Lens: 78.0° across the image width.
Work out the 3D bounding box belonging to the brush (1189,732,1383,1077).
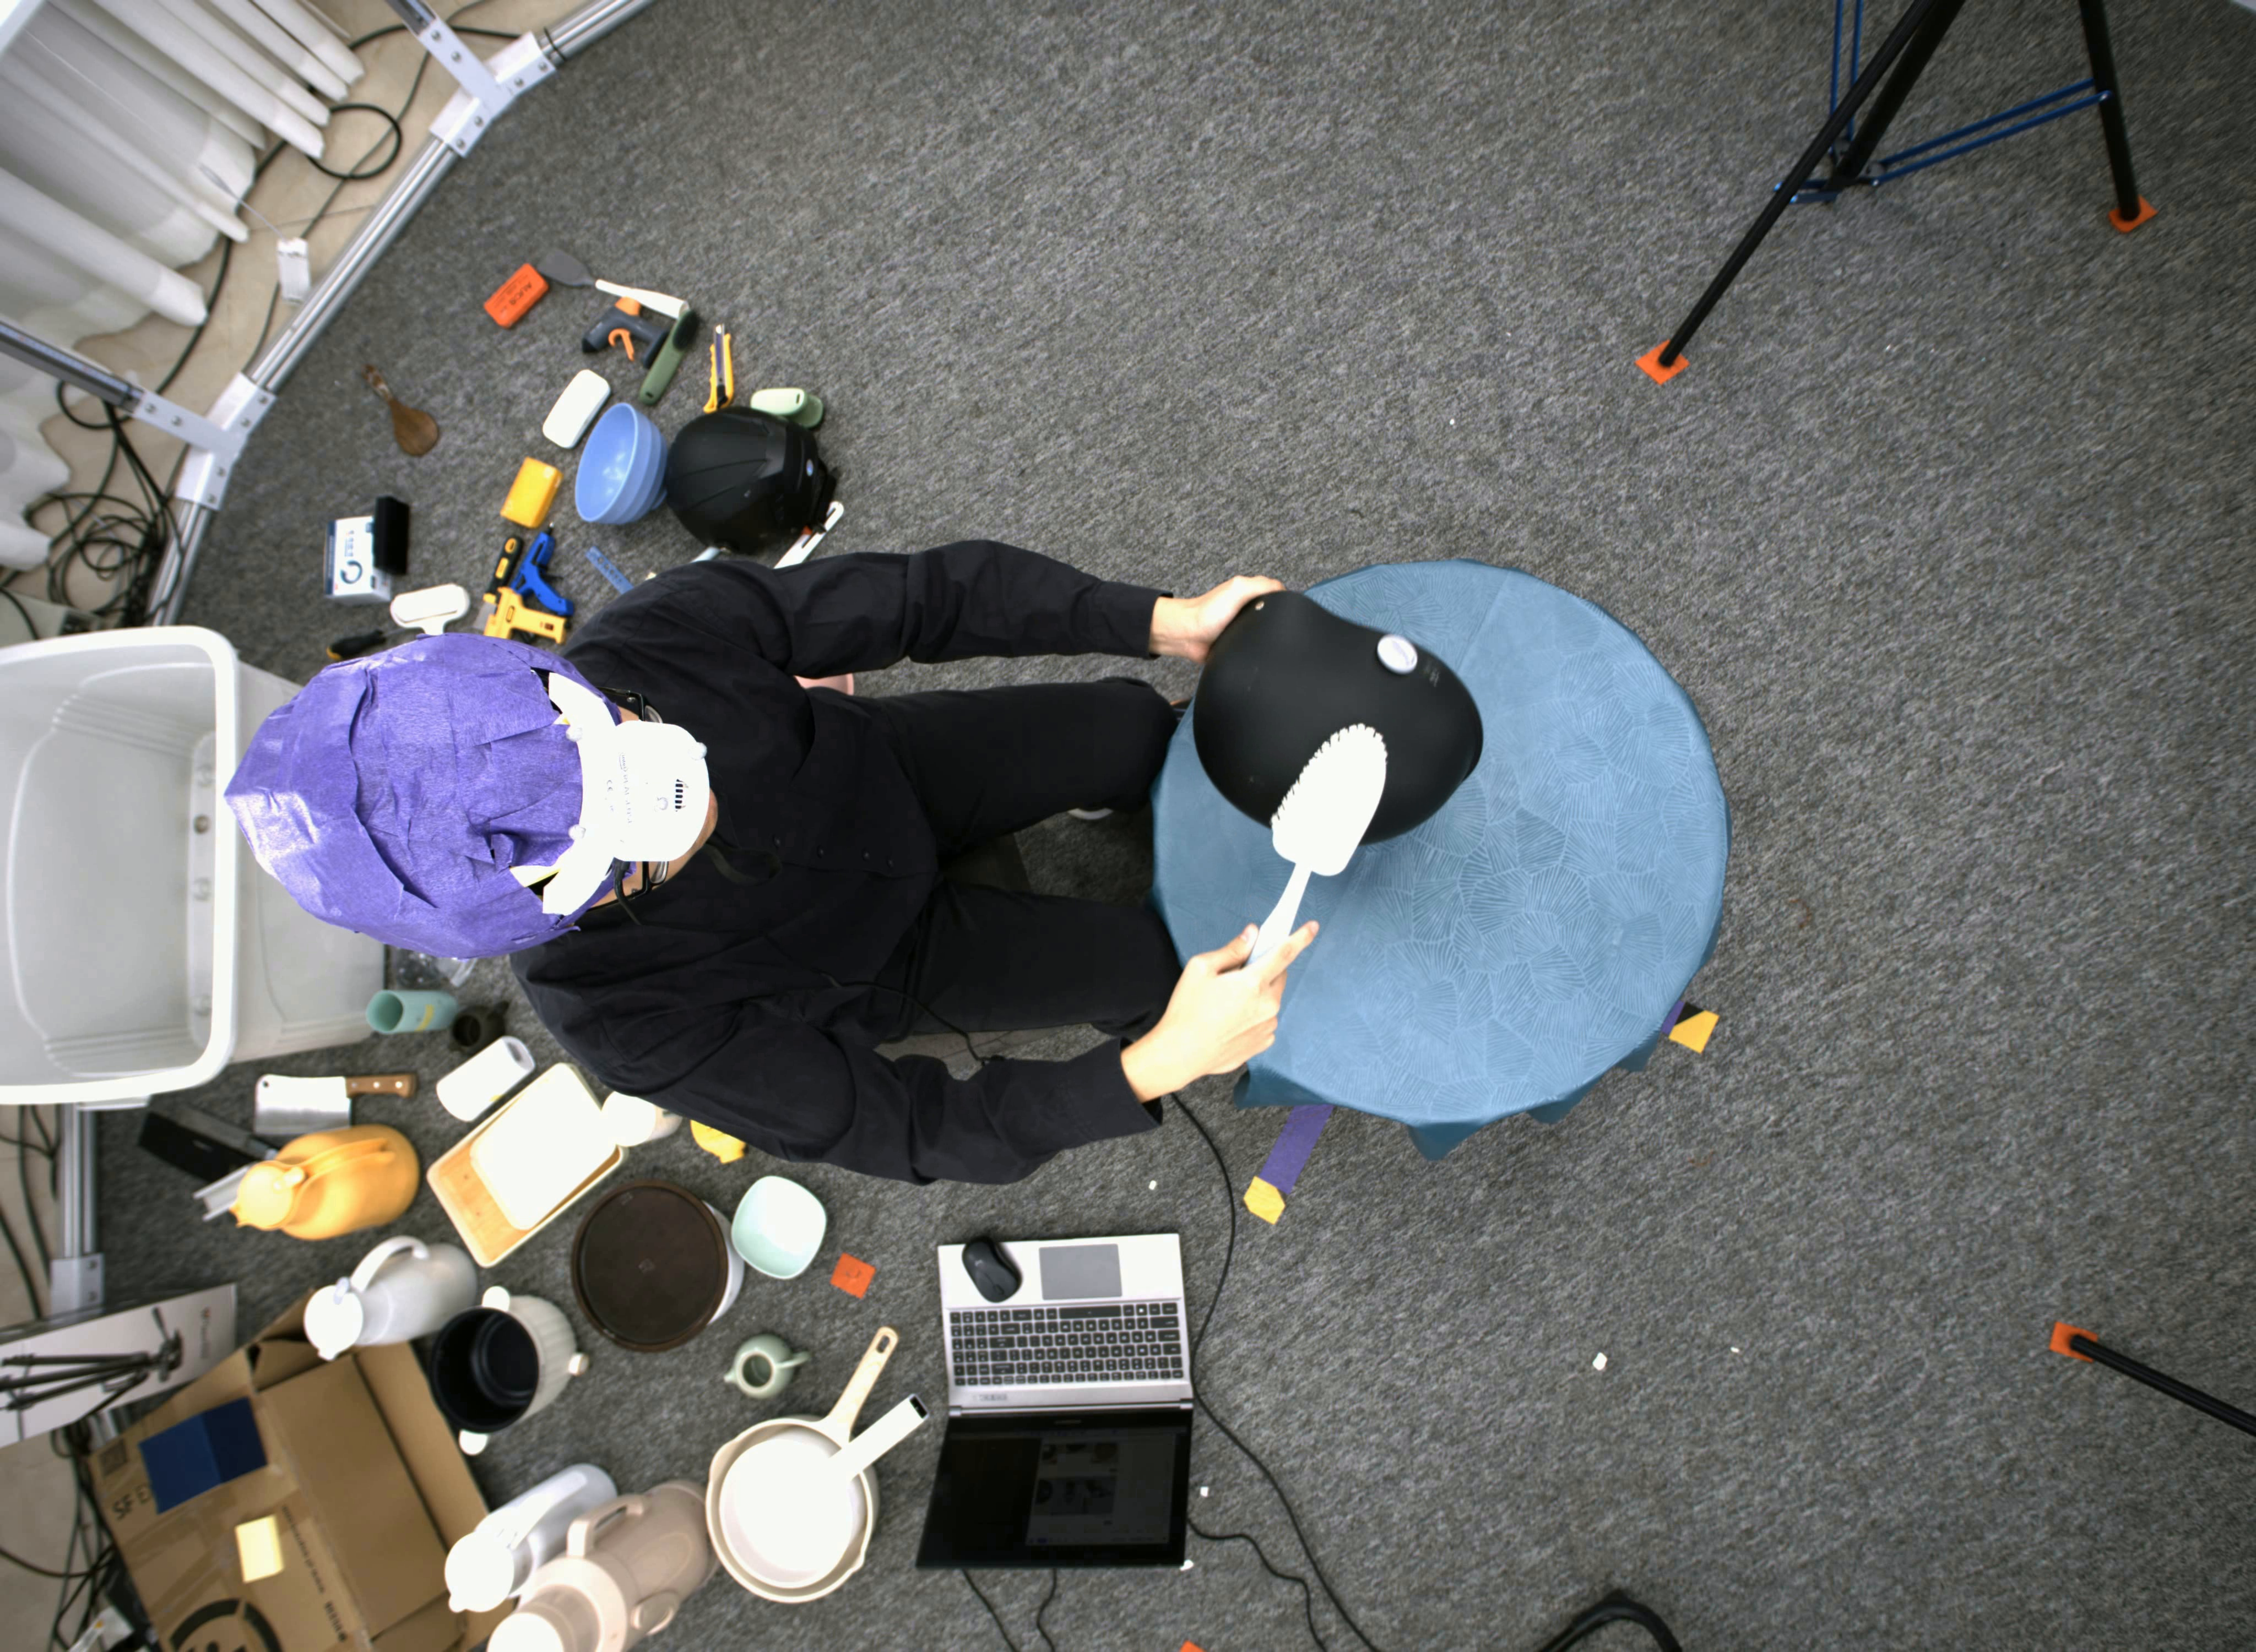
[{"bbox_3d":[0.127,0.065,1.194,0.082,0.084,0.329,35,107,32],"label":"brush"}]

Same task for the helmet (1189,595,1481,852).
[{"bbox_3d":[0.169,-0.074,1.262,0.272,0.236,0.163,30,57,13],"label":"helmet"}]
